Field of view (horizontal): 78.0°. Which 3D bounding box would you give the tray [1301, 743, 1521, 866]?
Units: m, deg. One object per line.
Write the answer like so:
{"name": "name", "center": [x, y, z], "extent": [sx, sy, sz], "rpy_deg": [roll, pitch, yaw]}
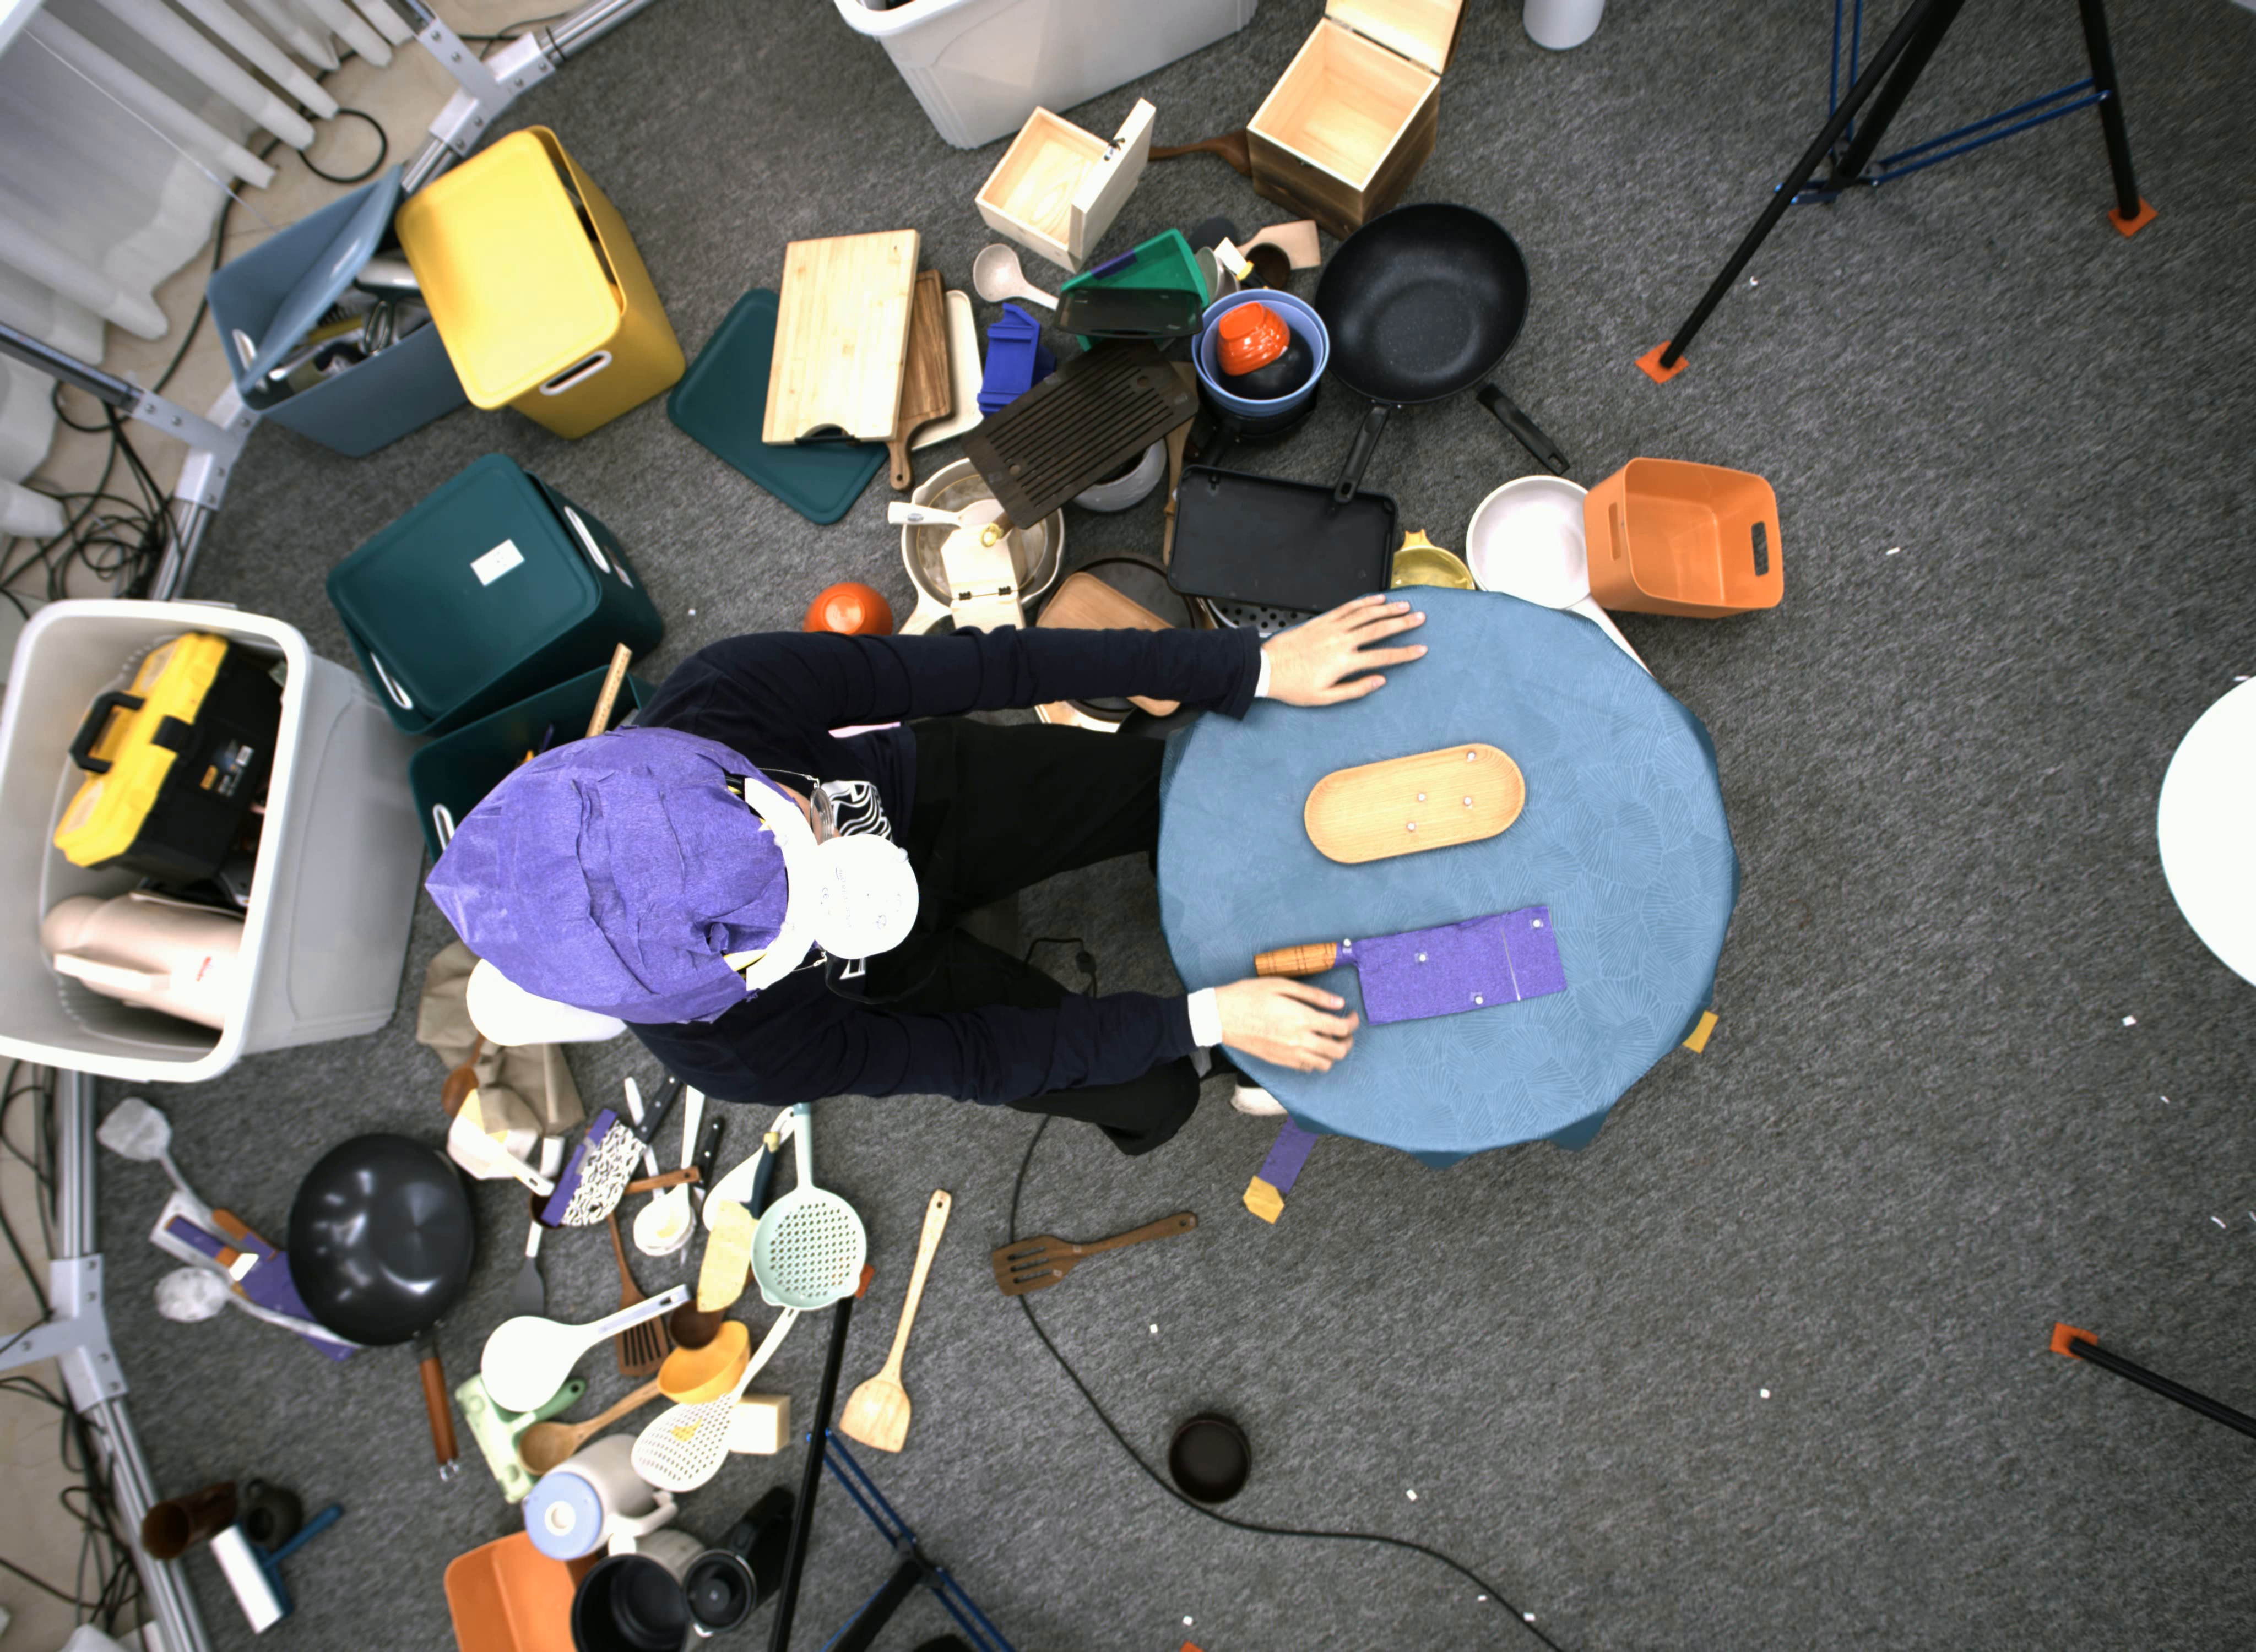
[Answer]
{"name": "tray", "center": [0.297, -0.024, 1.452], "extent": [0.232, 0.020, 0.101], "rpy_deg": [-13, 84, 12]}

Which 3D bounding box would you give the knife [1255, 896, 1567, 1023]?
{"name": "knife", "center": [0.294, 0.151, 1.437], "extent": [0.317, 0.032, 0.103], "rpy_deg": [-12, 84, 9]}
